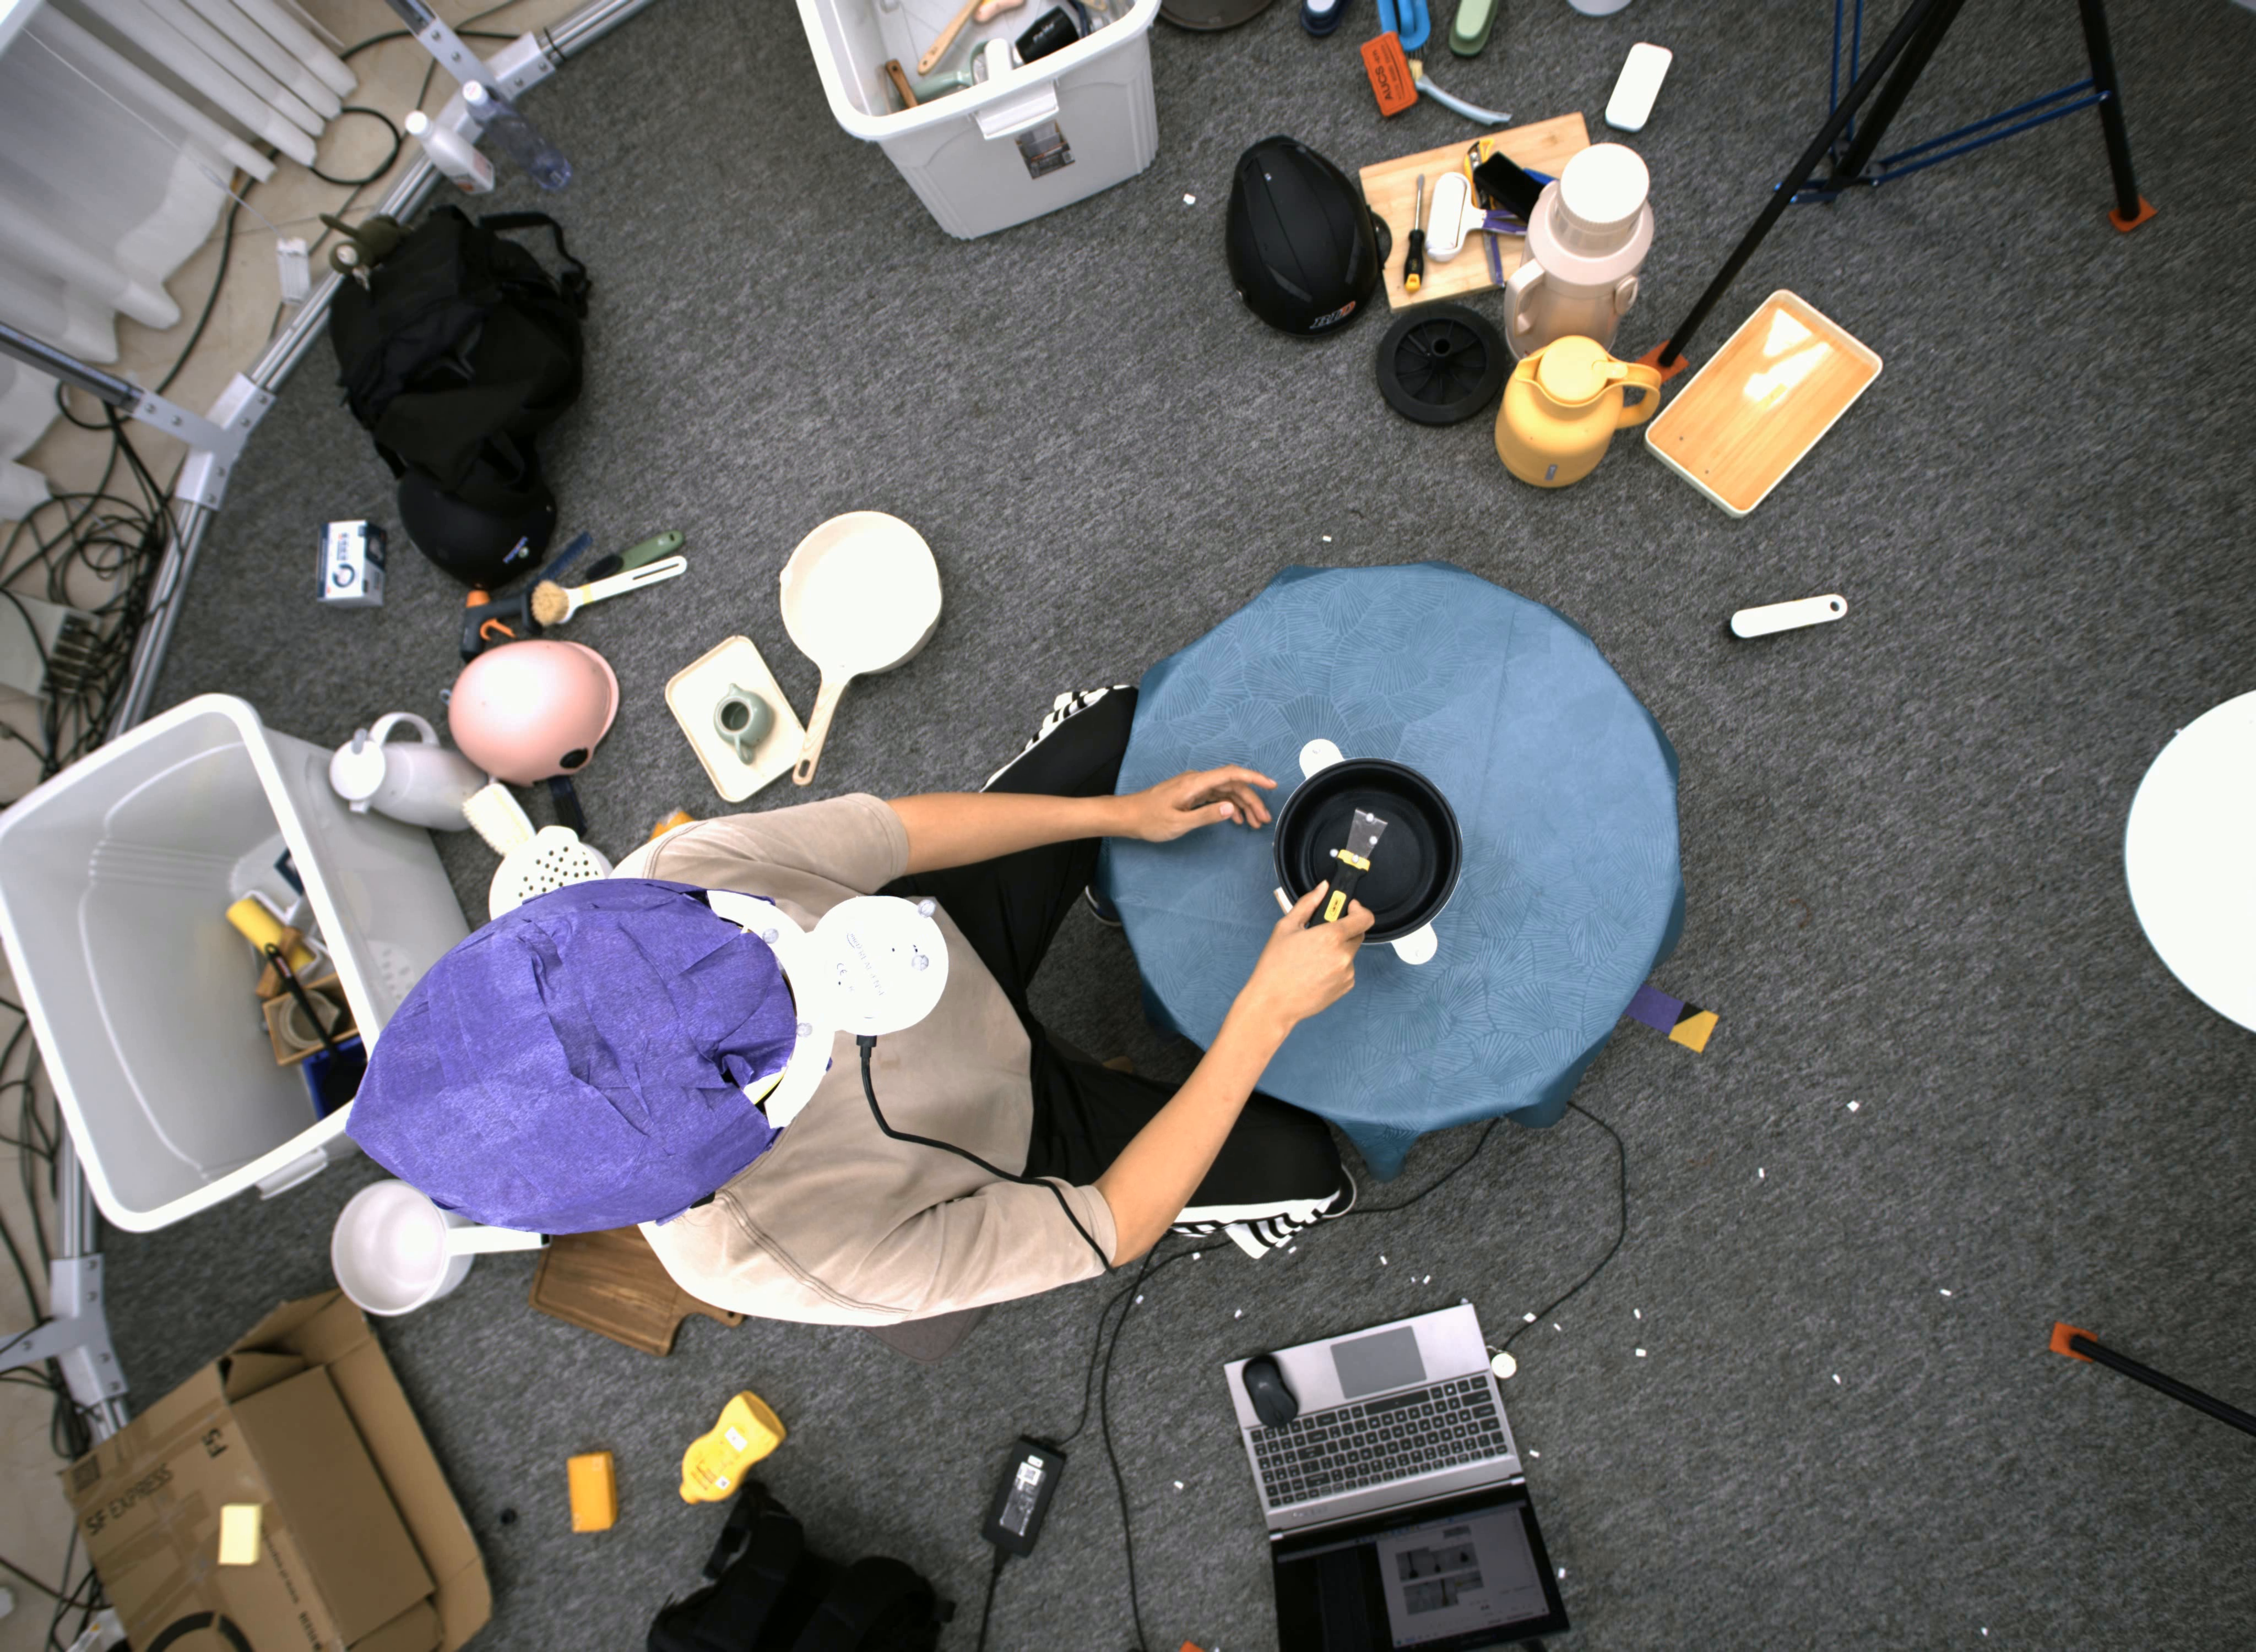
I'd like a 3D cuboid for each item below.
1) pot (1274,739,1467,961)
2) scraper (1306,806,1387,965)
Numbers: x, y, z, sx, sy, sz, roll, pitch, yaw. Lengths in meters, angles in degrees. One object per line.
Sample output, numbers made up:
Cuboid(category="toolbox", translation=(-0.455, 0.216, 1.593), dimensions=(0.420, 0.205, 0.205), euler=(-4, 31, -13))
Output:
Cuboid(category="pot", translation=(0.238, 0.032, 1.399), dimensions=(0.191, 0.143, 0.238), euler=(-27, 81, 3))
Cuboid(category="scraper", translation=(0.207, 0.056, 1.316), dimensions=(0.039, 0.015, 0.167), euler=(24, 67, 0))
